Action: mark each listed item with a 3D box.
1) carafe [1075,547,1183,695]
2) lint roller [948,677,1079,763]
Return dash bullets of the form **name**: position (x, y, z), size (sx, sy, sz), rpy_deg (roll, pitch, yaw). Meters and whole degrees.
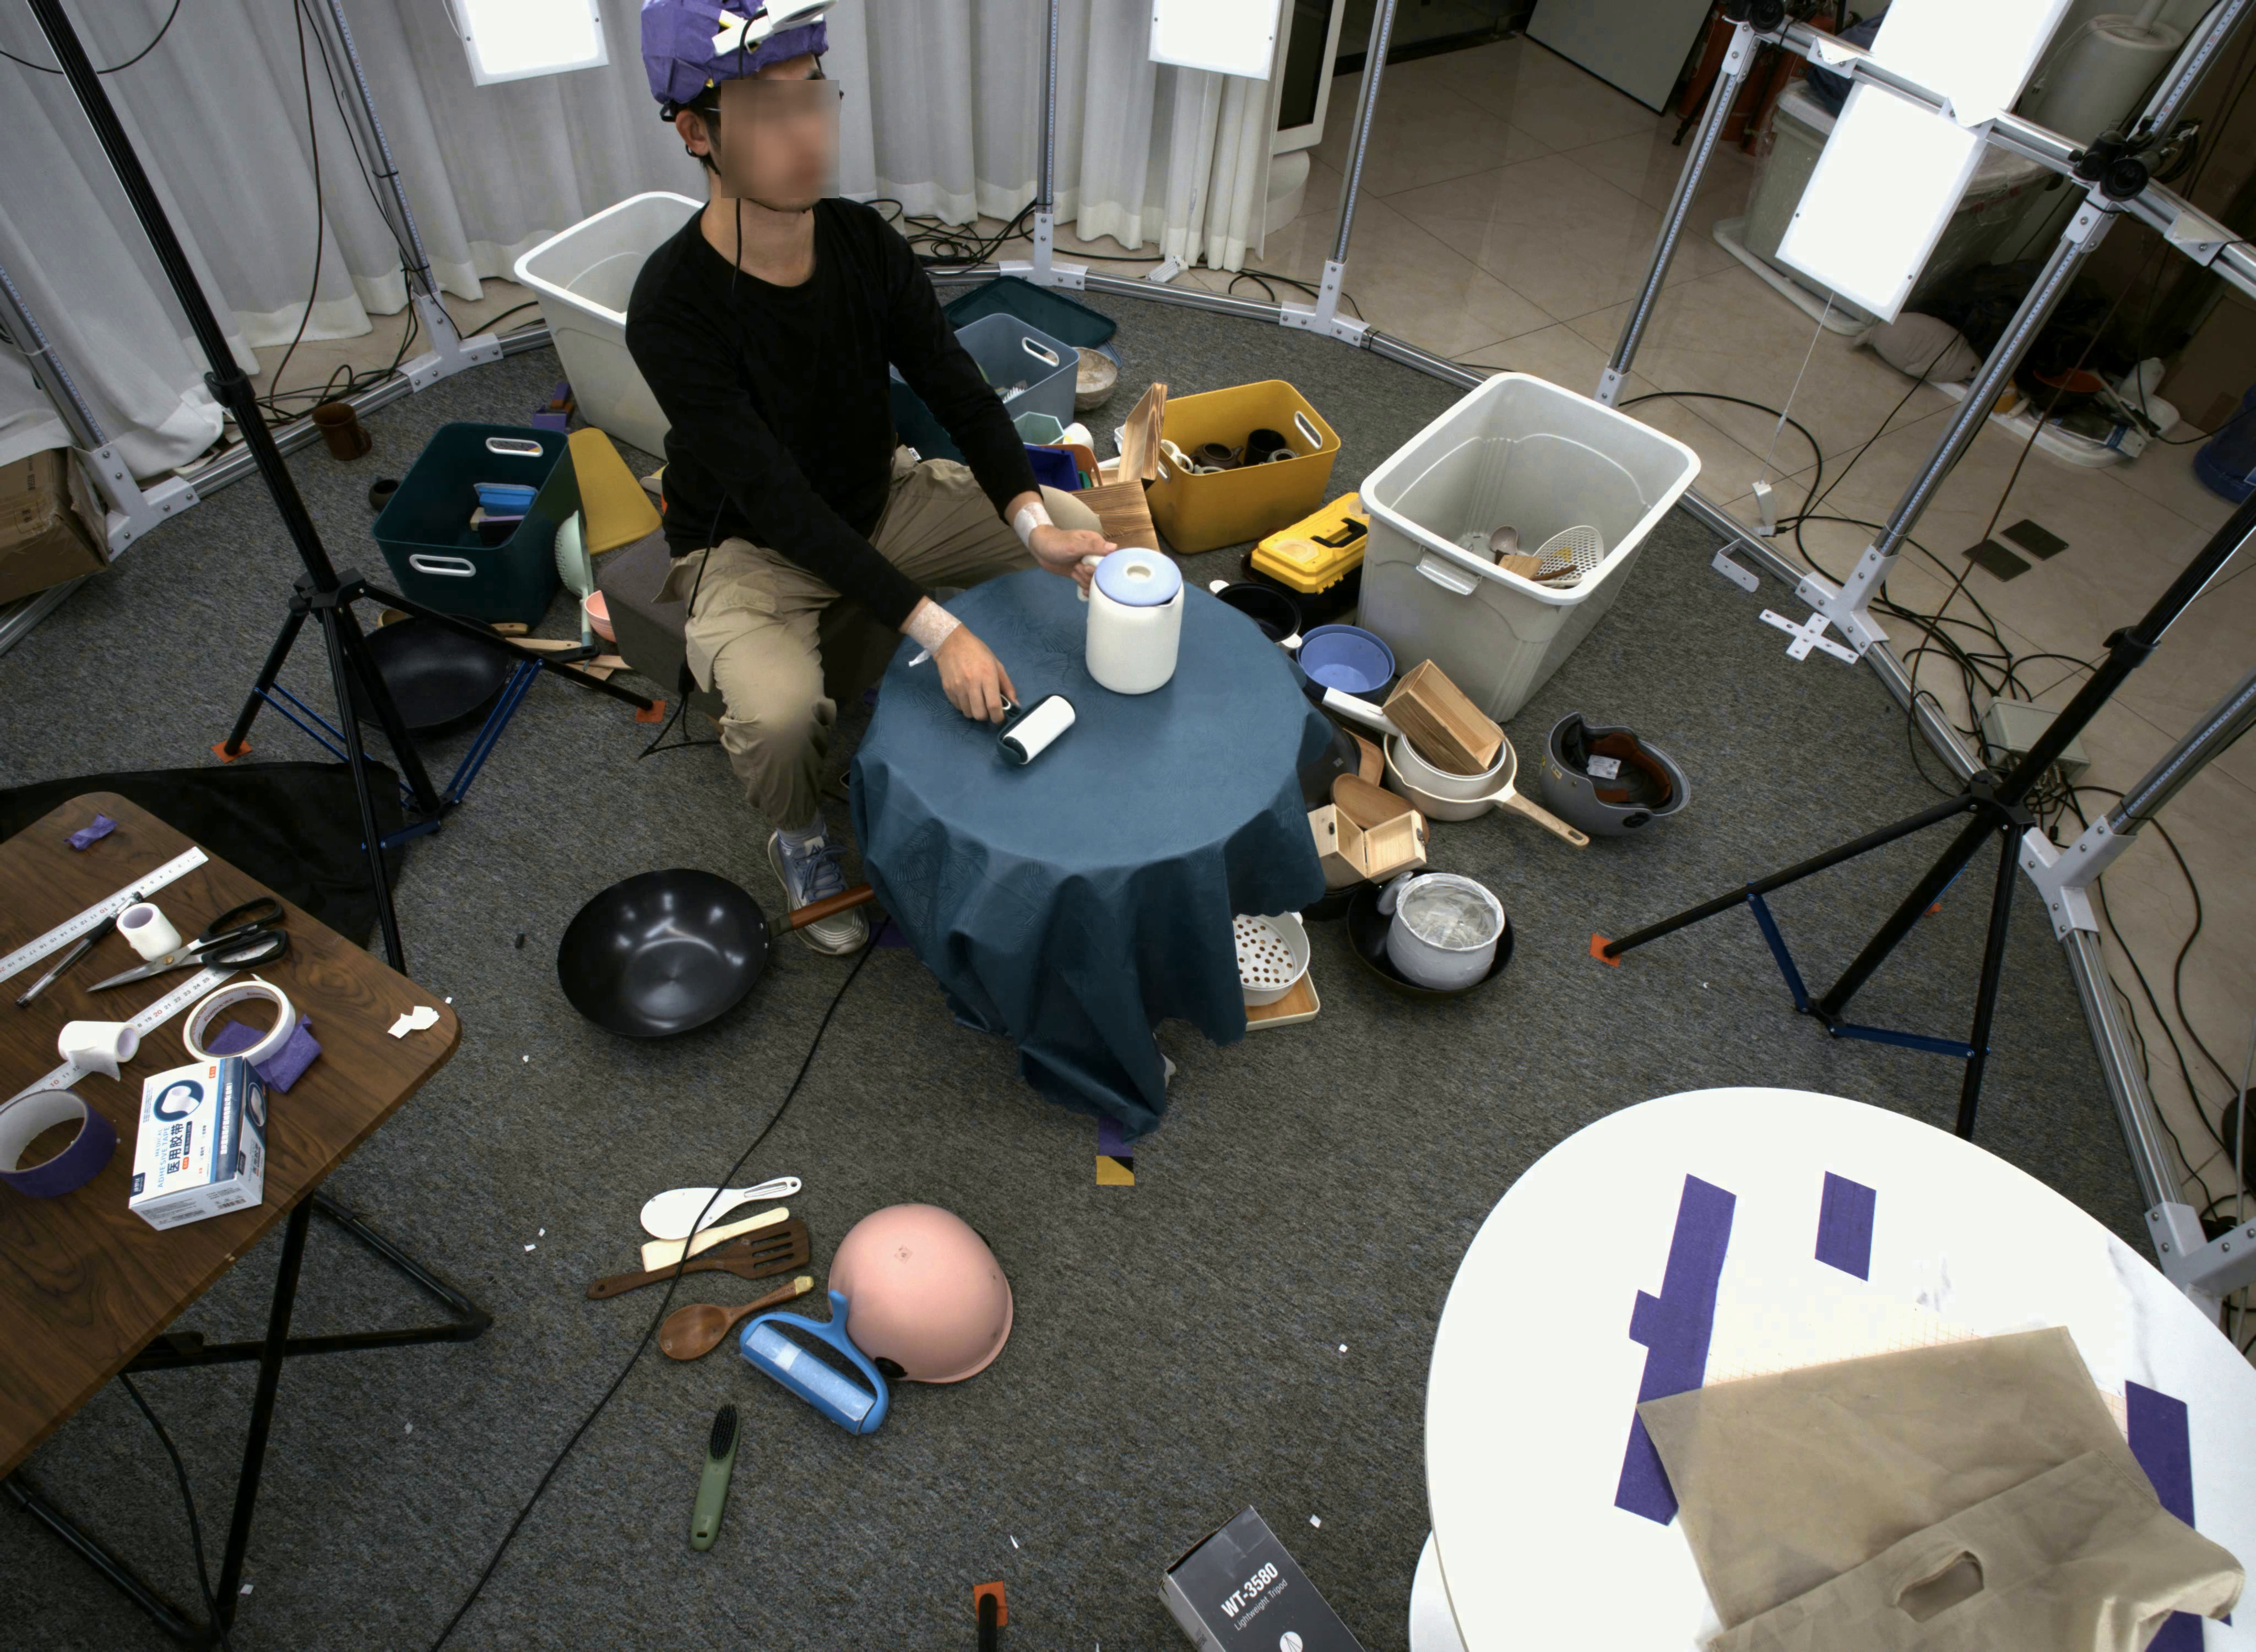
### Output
- **carafe**: position (-0.007, -0.302, 1.821), size (0.133, 0.178, 0.194), rpy_deg (-32, 56, -28)
- **lint roller**: position (-0.175, -0.169, 1.764), size (0.182, 0.047, 0.136), rpy_deg (34, 55, 17)
